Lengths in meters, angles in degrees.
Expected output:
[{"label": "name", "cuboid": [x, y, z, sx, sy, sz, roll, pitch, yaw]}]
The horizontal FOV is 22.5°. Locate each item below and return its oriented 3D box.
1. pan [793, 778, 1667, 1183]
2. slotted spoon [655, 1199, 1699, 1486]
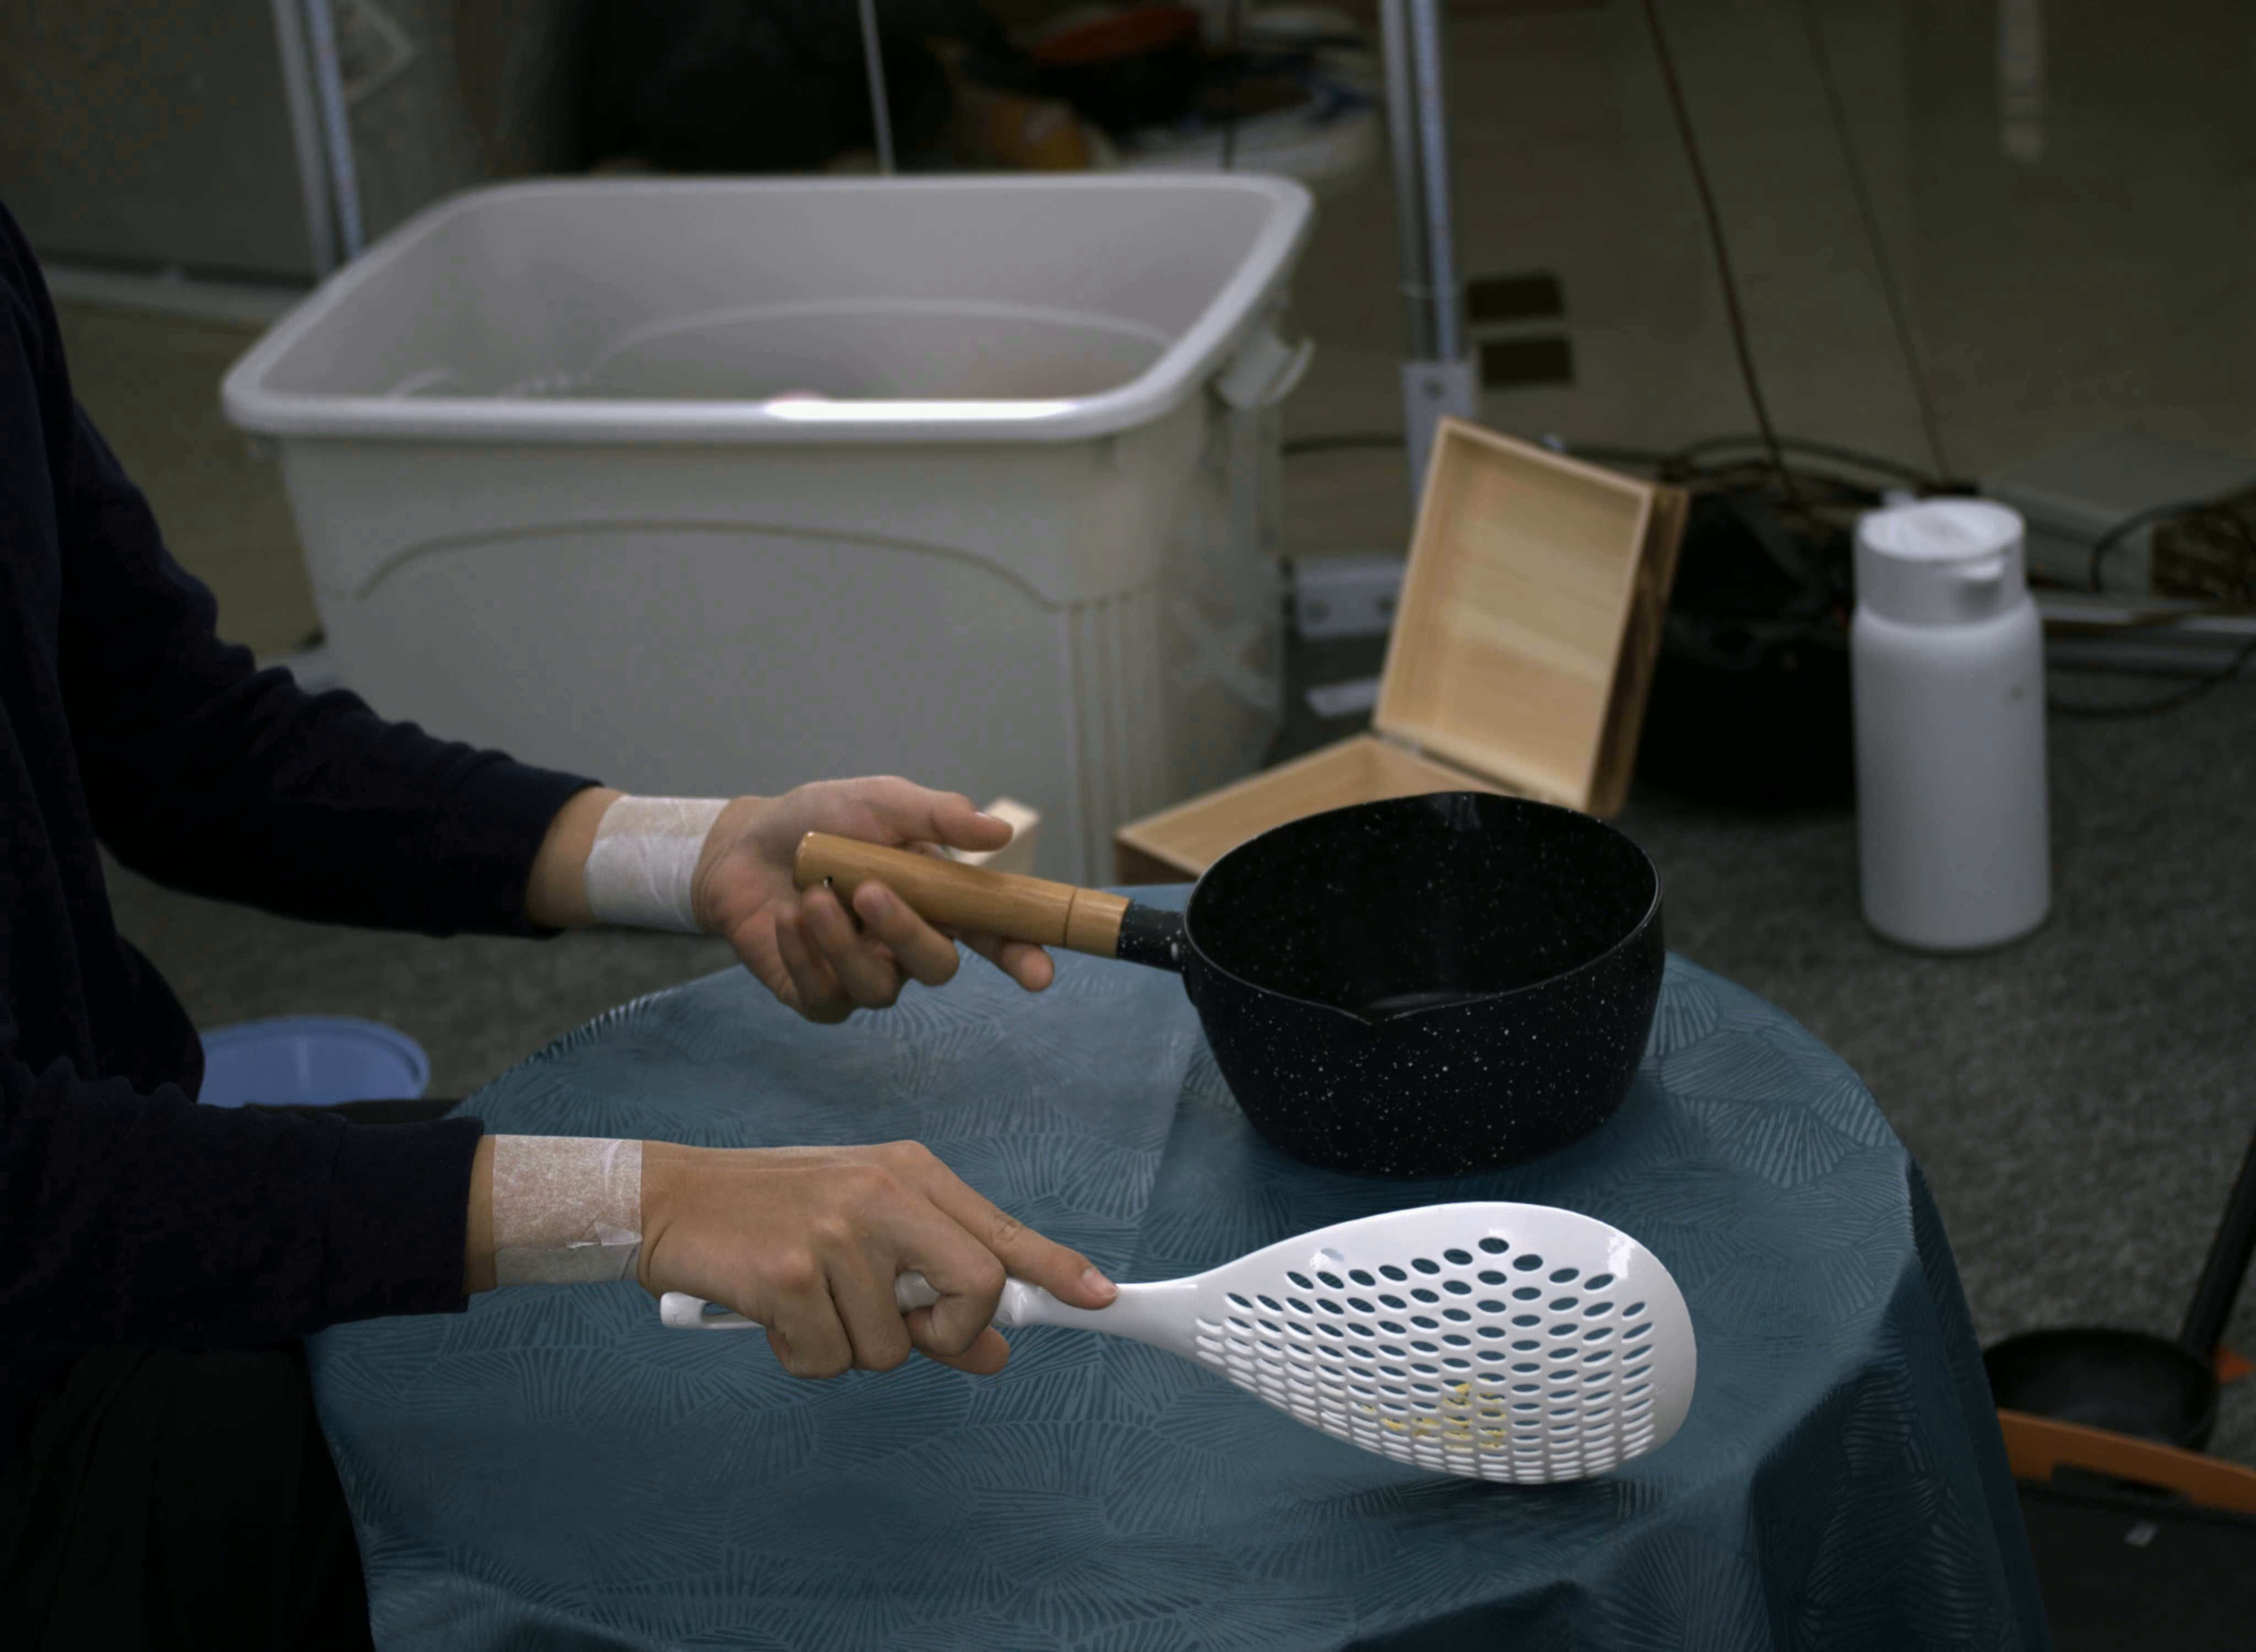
[{"label": "pan", "cuboid": [0.038, 0.054, 2.190, 0.342, 0.110, 0.204, 1, 27, 12]}, {"label": "slotted spoon", "cuboid": [0.015, 0.170, 1.900, 0.347, 0.139, 0.049, 7, 46, 10]}]
